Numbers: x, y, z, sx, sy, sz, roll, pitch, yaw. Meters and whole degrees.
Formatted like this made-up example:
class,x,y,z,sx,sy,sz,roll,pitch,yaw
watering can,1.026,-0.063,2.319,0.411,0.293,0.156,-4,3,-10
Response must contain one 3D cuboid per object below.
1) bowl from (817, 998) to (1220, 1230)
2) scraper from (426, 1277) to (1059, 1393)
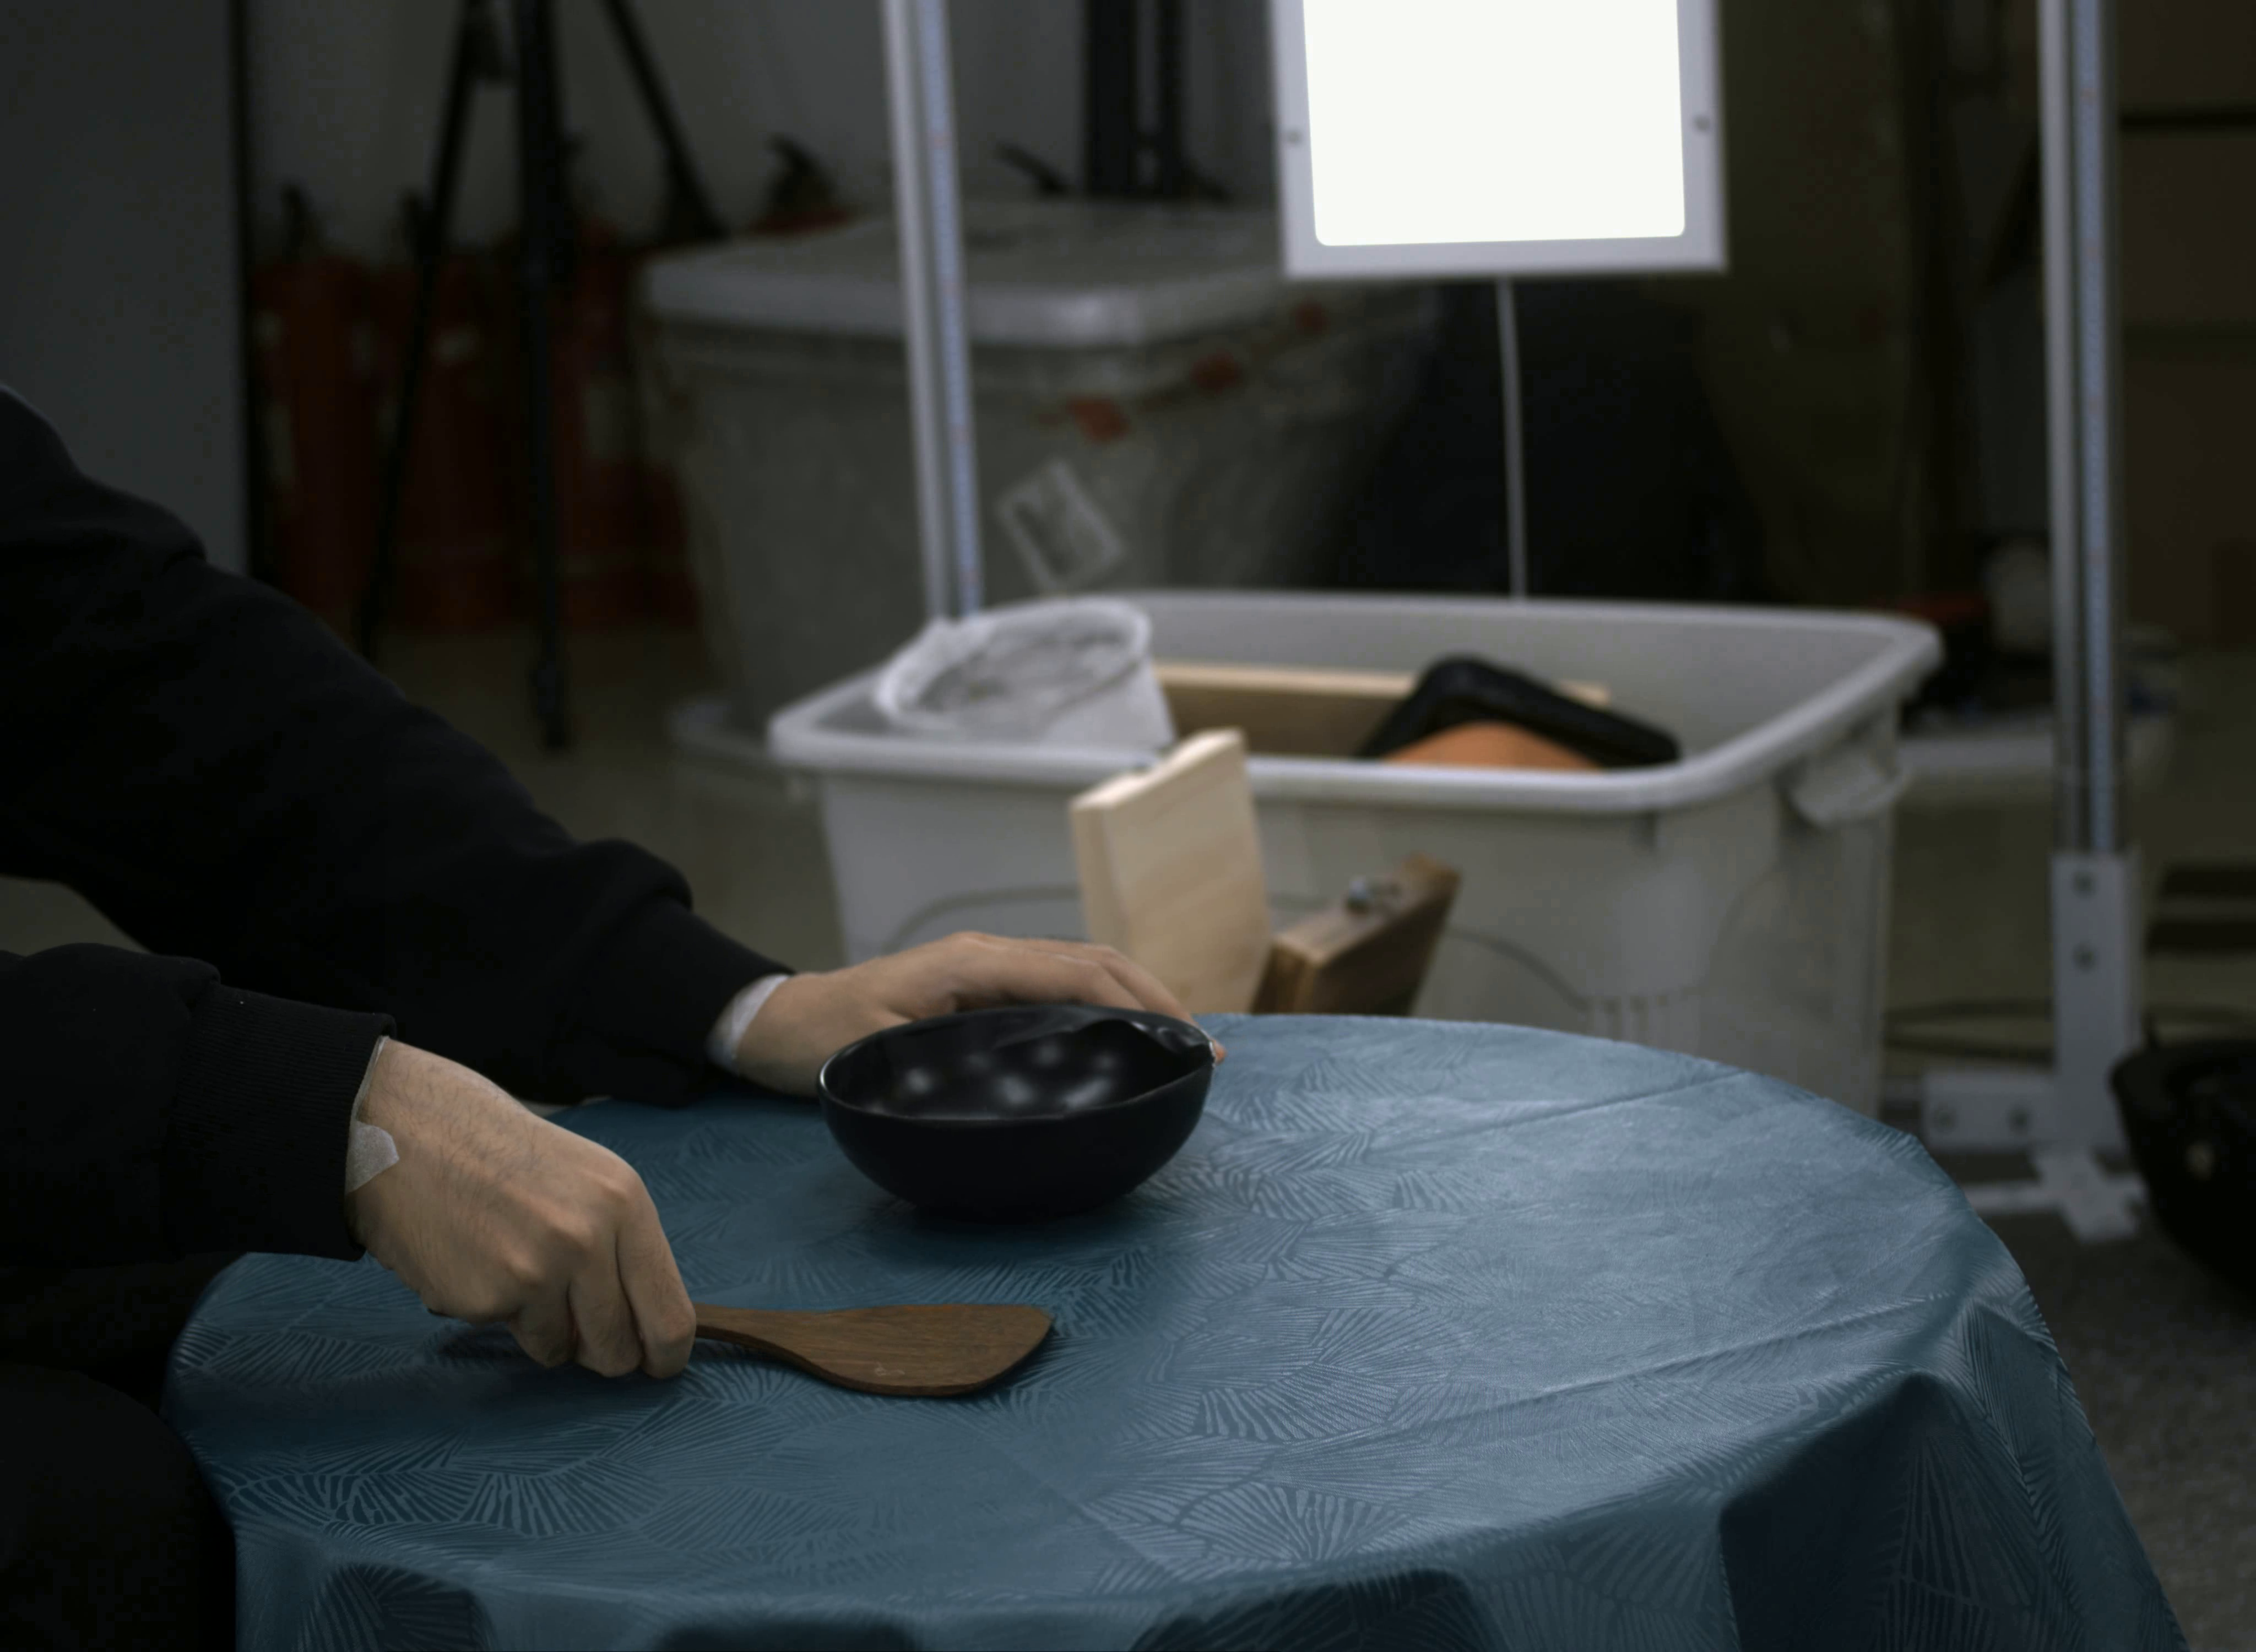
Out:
class,x,y,z,sx,sy,sz,roll,pitch,yaw
bowl,-0.036,0.104,1.903,0.140,0.050,0.140,-6,16,0
scraper,-0.127,0.160,1.772,0.214,0.011,0.074,4,16,21
